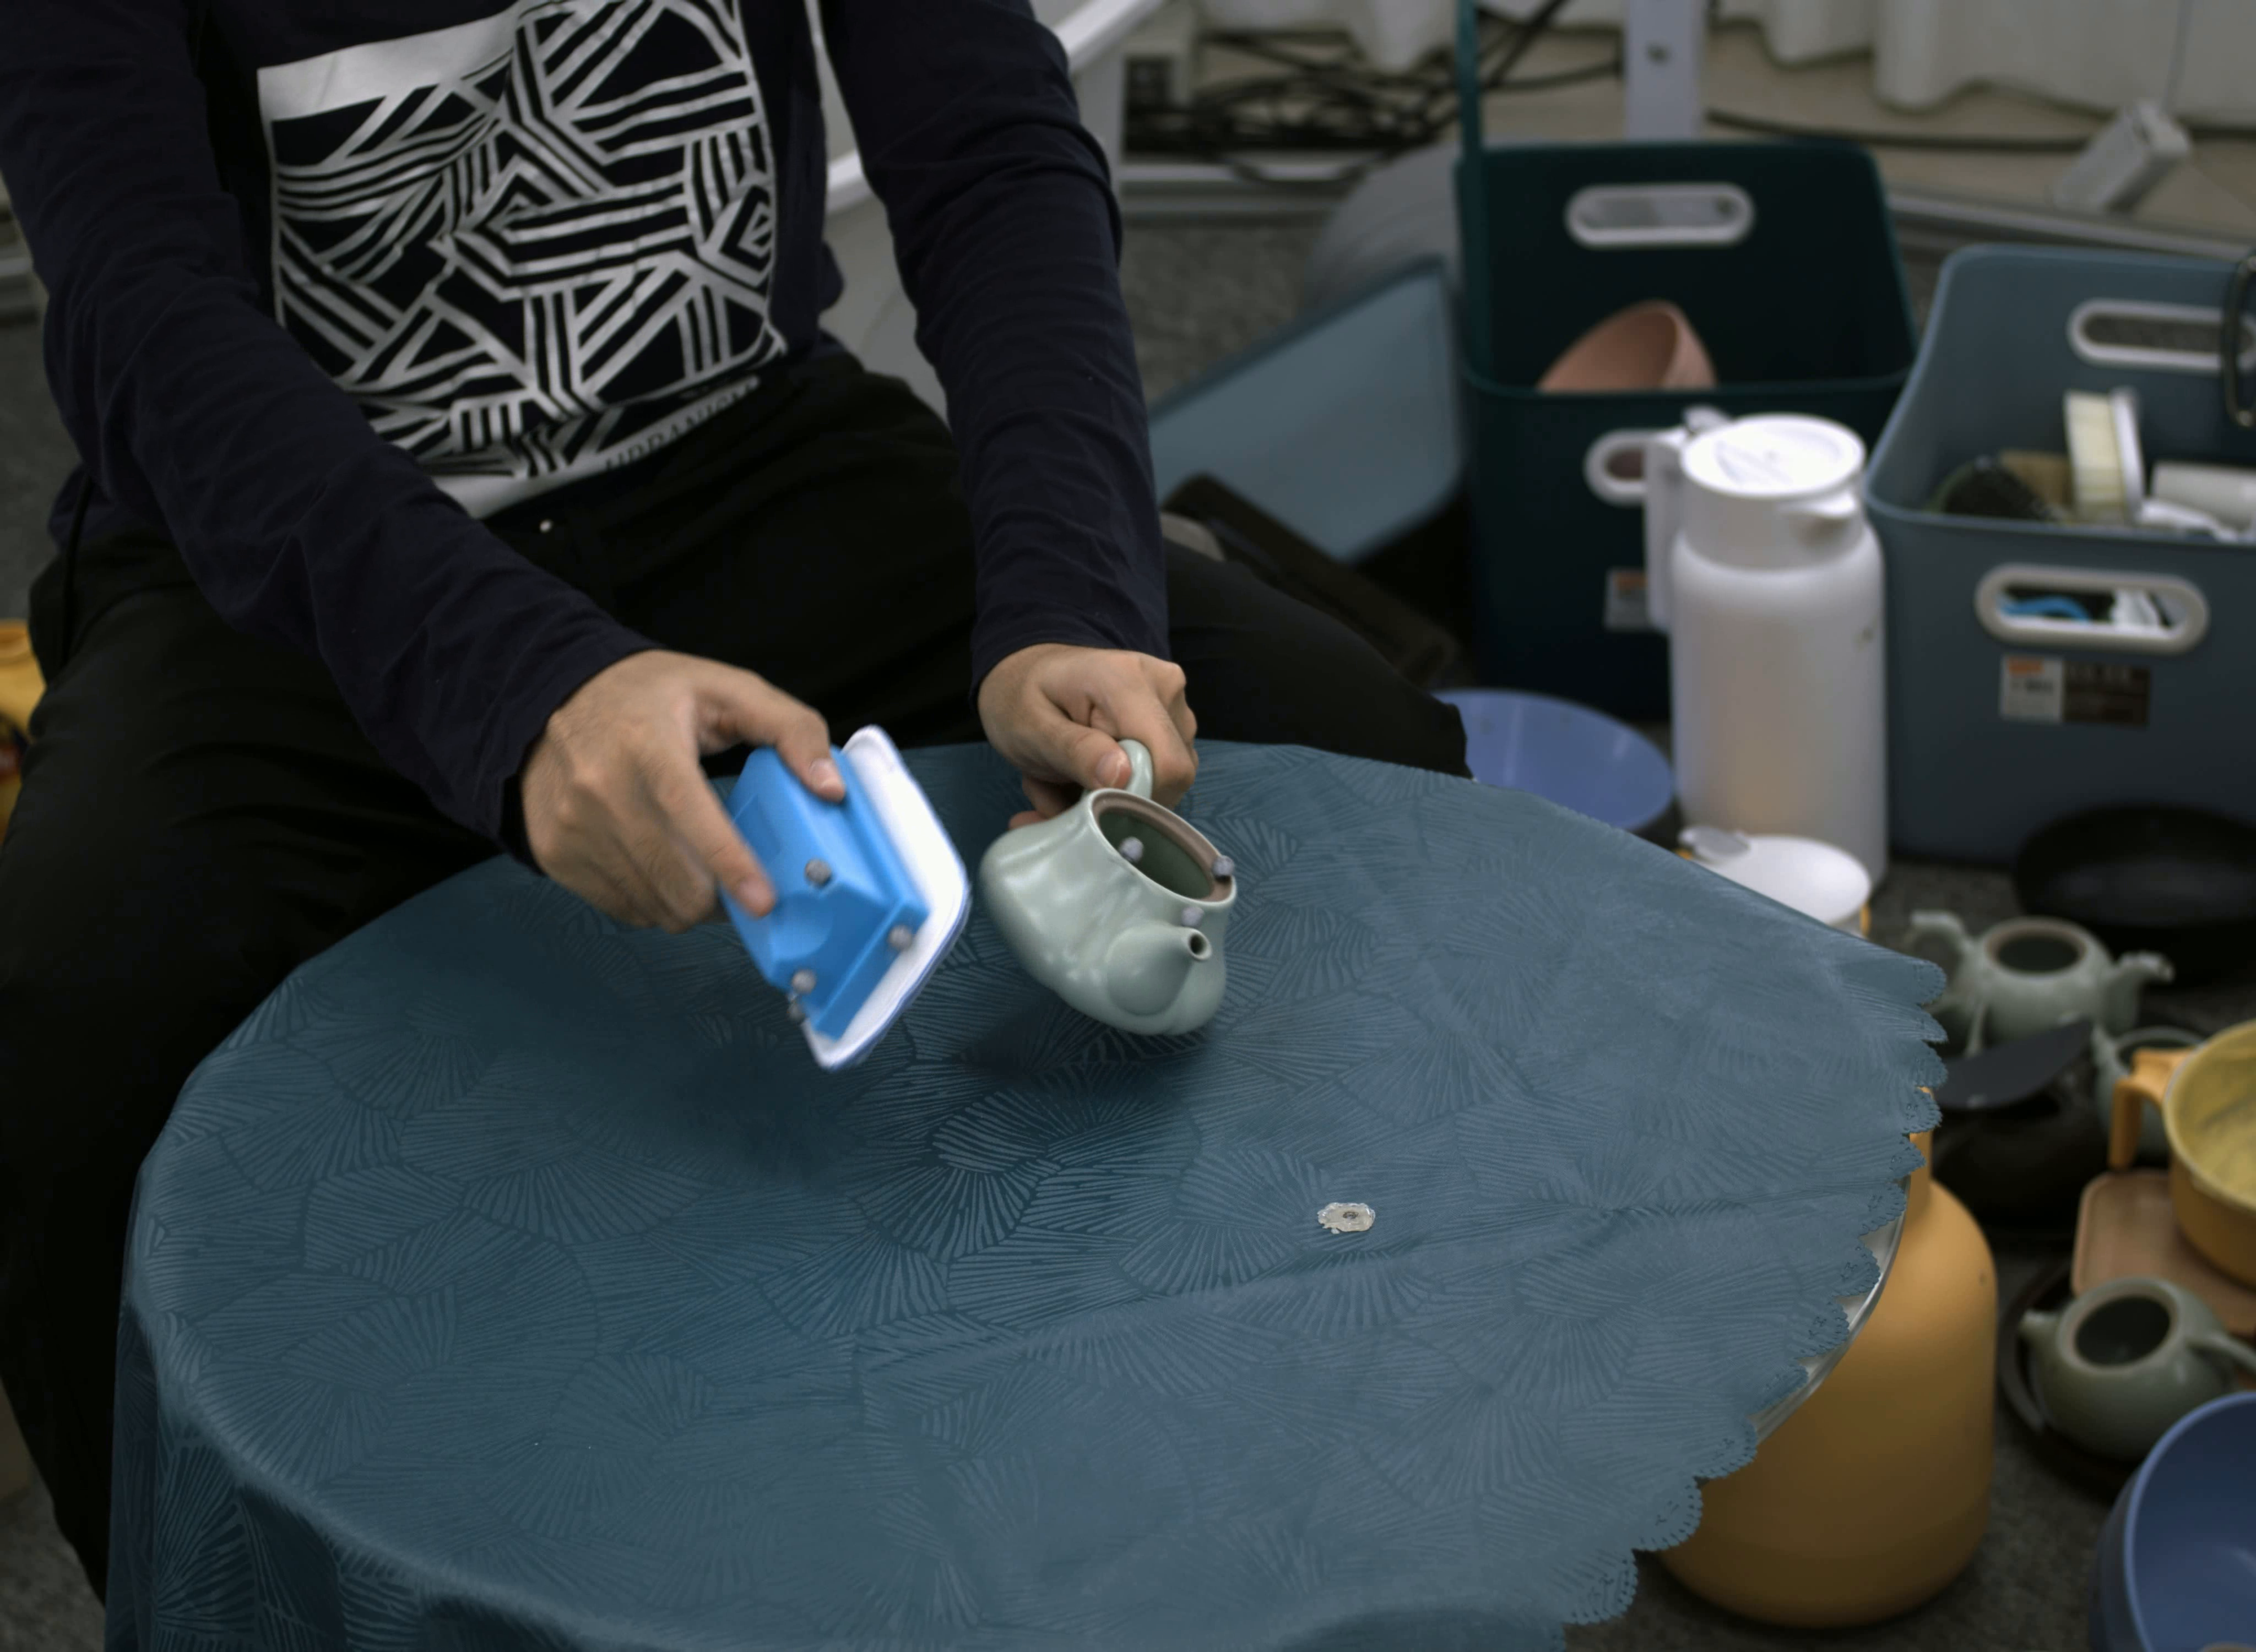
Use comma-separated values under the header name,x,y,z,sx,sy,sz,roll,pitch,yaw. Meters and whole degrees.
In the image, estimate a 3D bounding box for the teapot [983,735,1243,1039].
name,x,y,z,sx,sy,sz,roll,pitch,yaw
teapot,-0.001,0.025,1.936,0.096,0.060,0.139,21,29,-26

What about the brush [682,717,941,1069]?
name,x,y,z,sx,sy,sz,roll,pitch,yaw
brush,-0.114,0.016,1.887,0.055,0.083,0.145,34,14,-31
